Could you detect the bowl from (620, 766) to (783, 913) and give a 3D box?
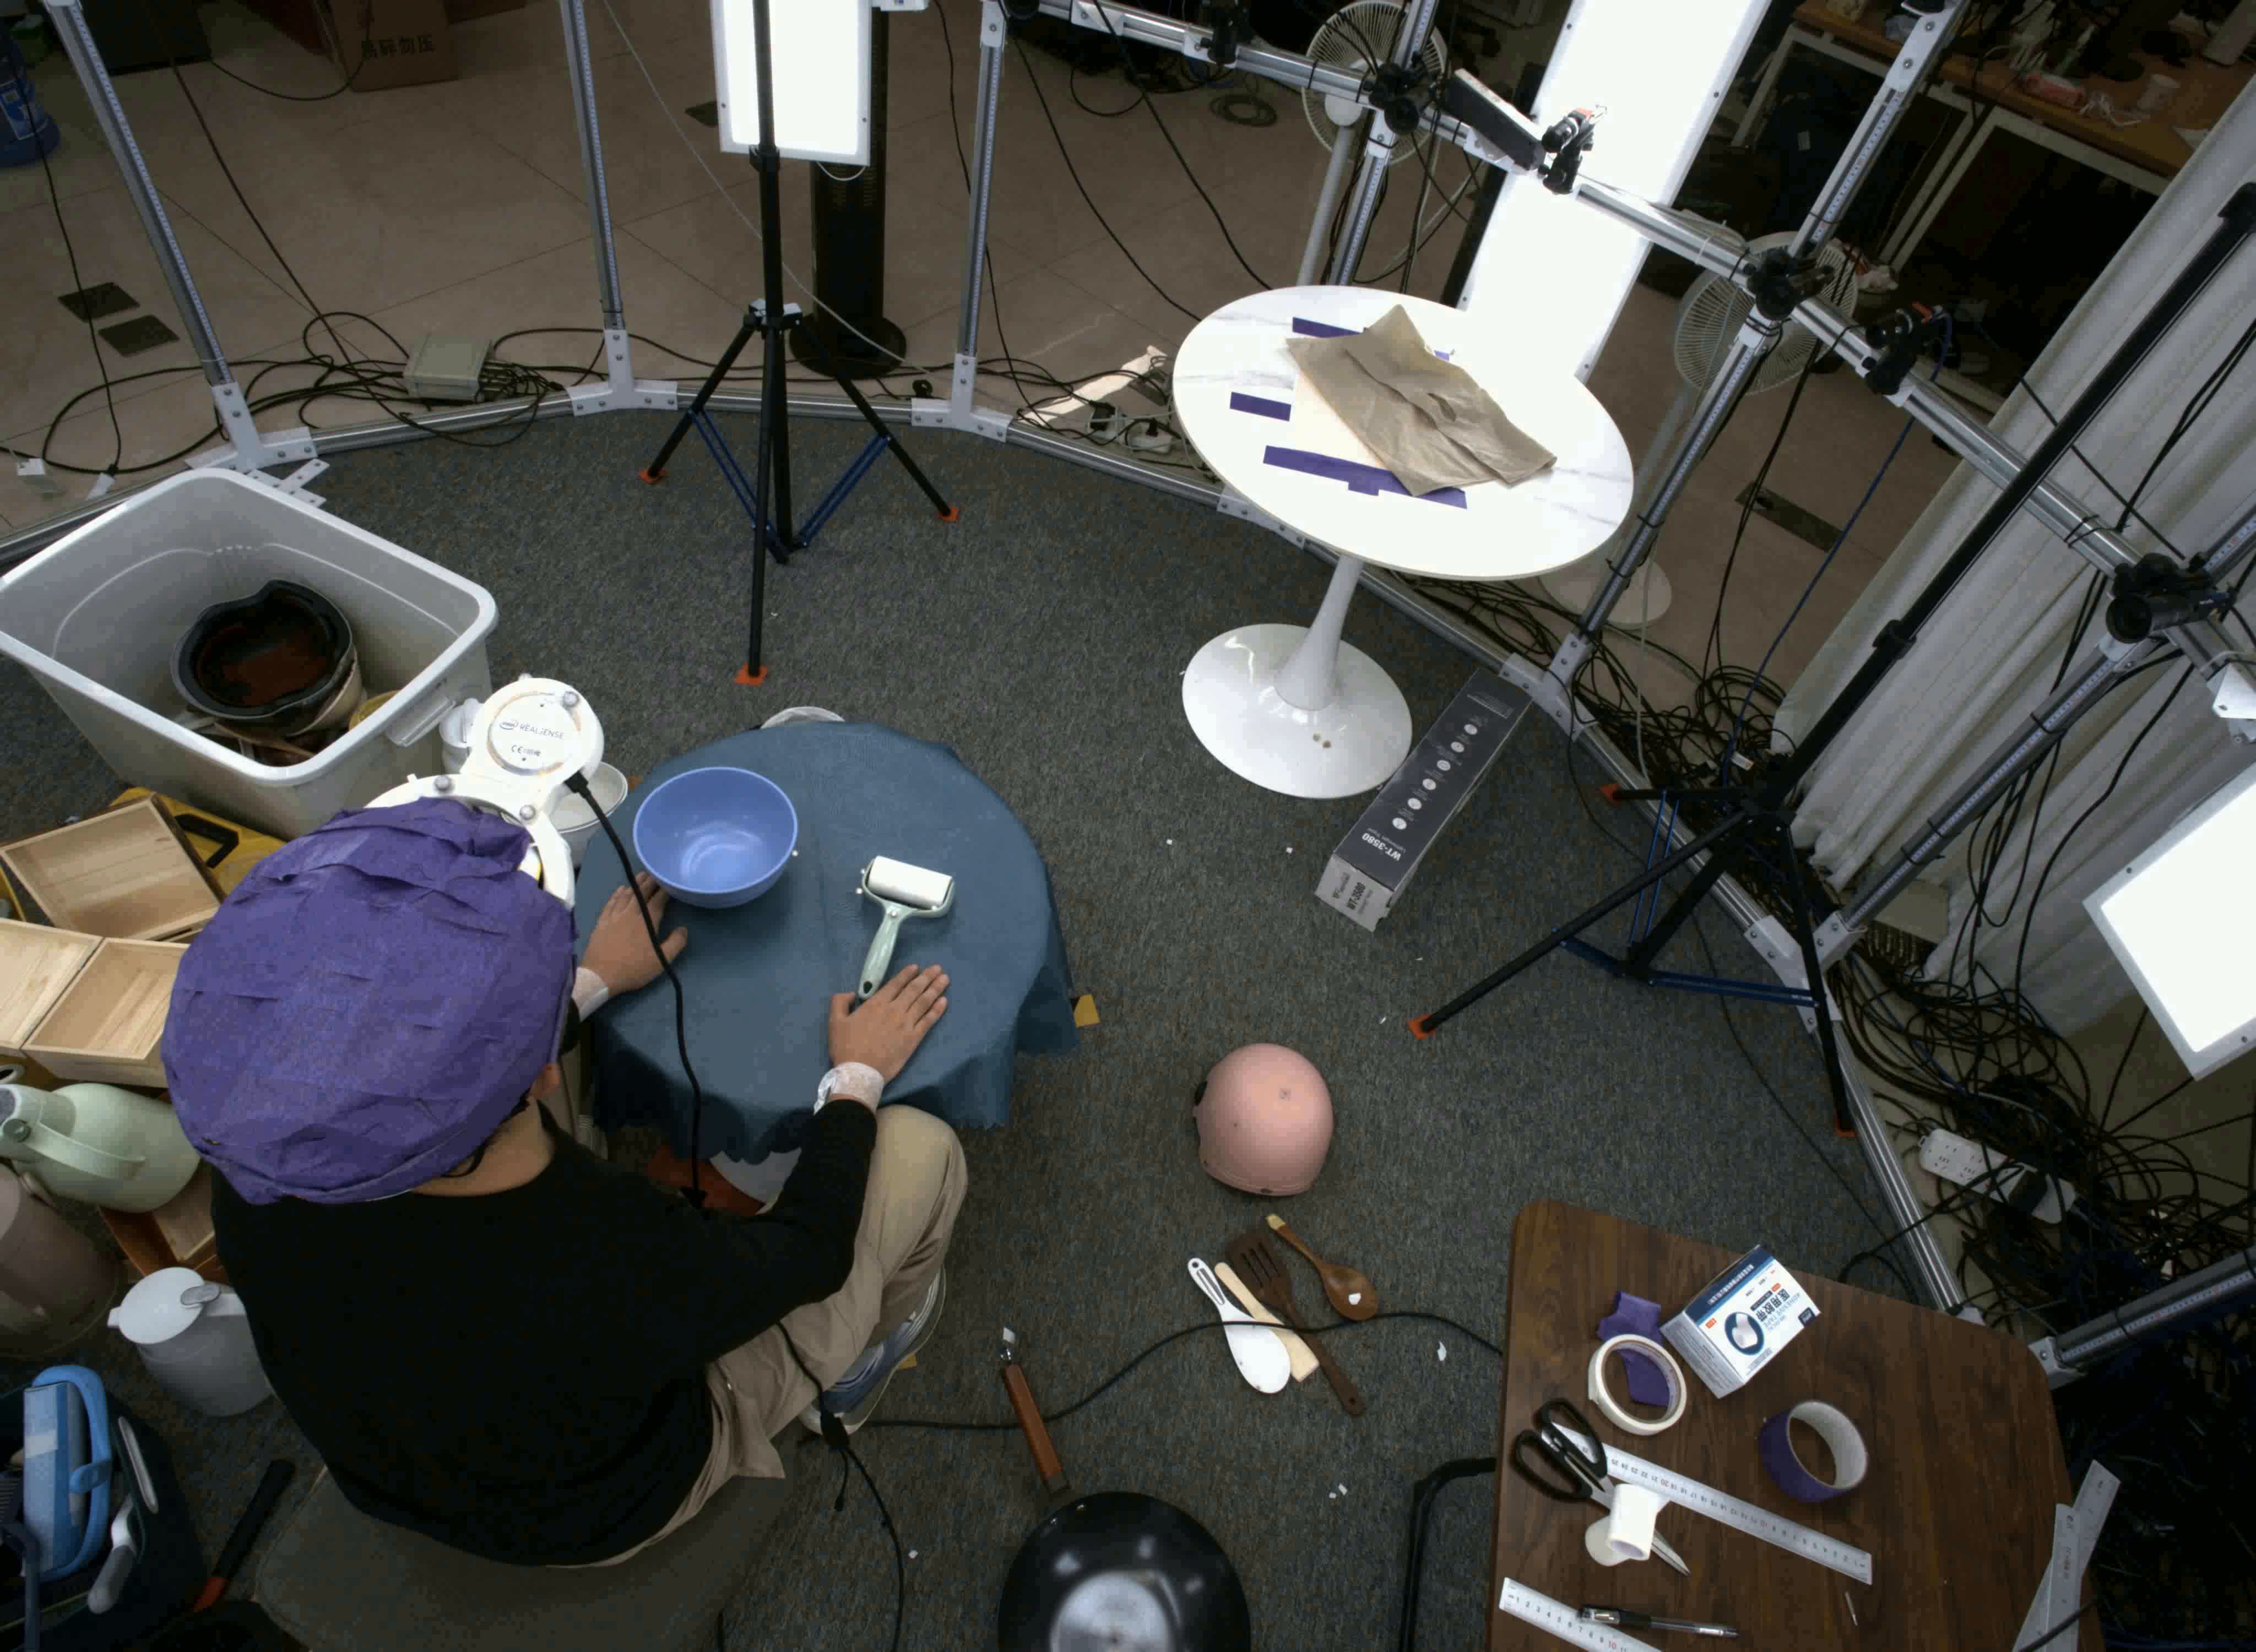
[{"bbox_3d":[-0.528,0.031,1.606,0.196,0.097,0.193,8,52,-9],"label":"bowl"}]

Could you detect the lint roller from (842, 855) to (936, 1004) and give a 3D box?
[{"bbox_3d":[-0.318,0.126,1.624,0.116,0.049,0.195,16,53,-4],"label":"lint roller"}]
